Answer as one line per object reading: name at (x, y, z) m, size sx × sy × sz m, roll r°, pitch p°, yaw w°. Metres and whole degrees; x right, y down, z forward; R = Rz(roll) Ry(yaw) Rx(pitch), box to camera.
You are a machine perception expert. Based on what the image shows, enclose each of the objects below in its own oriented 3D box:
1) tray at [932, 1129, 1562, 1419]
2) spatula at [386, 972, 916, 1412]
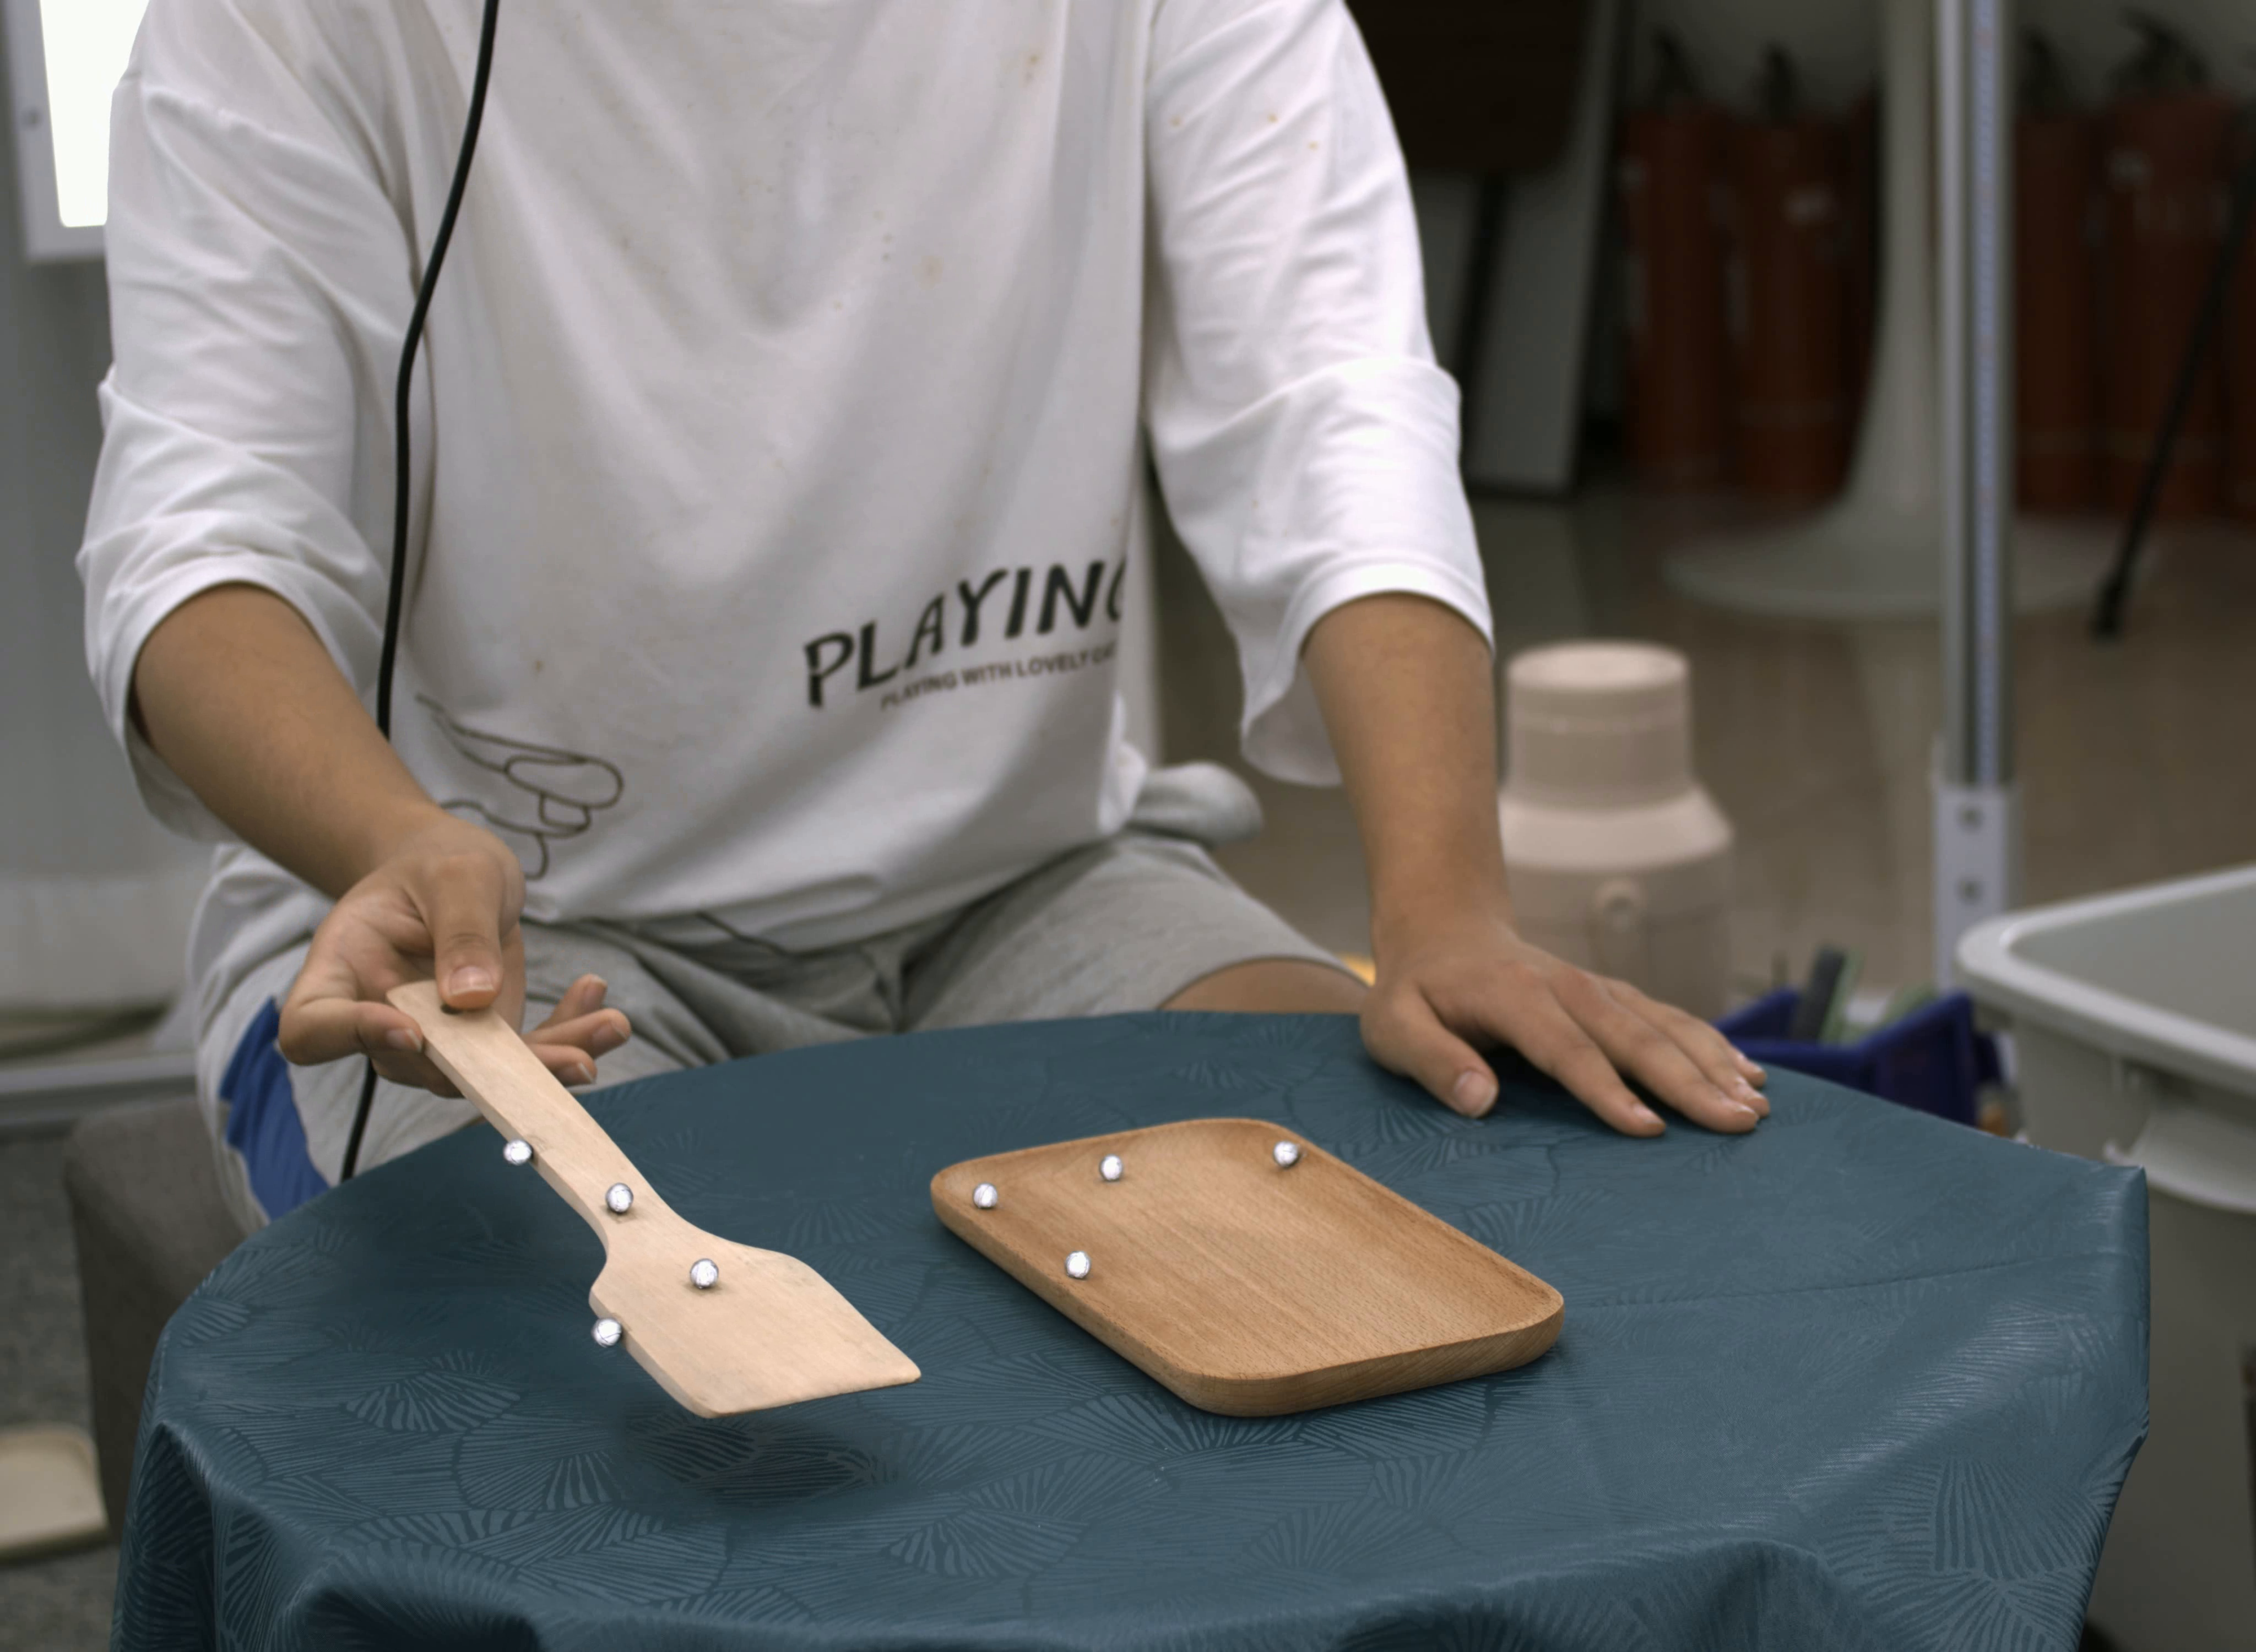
tray at (0.033, 0.136, 1.671) m, size 0.128 × 0.023 × 0.253 m, roll -11°, pitch 15°, yaw -19°
spatula at (-0.159, 0.106, 1.626) m, size 0.070 × 0.011 × 0.296 m, roll -8°, pitch 26°, yaw -28°
